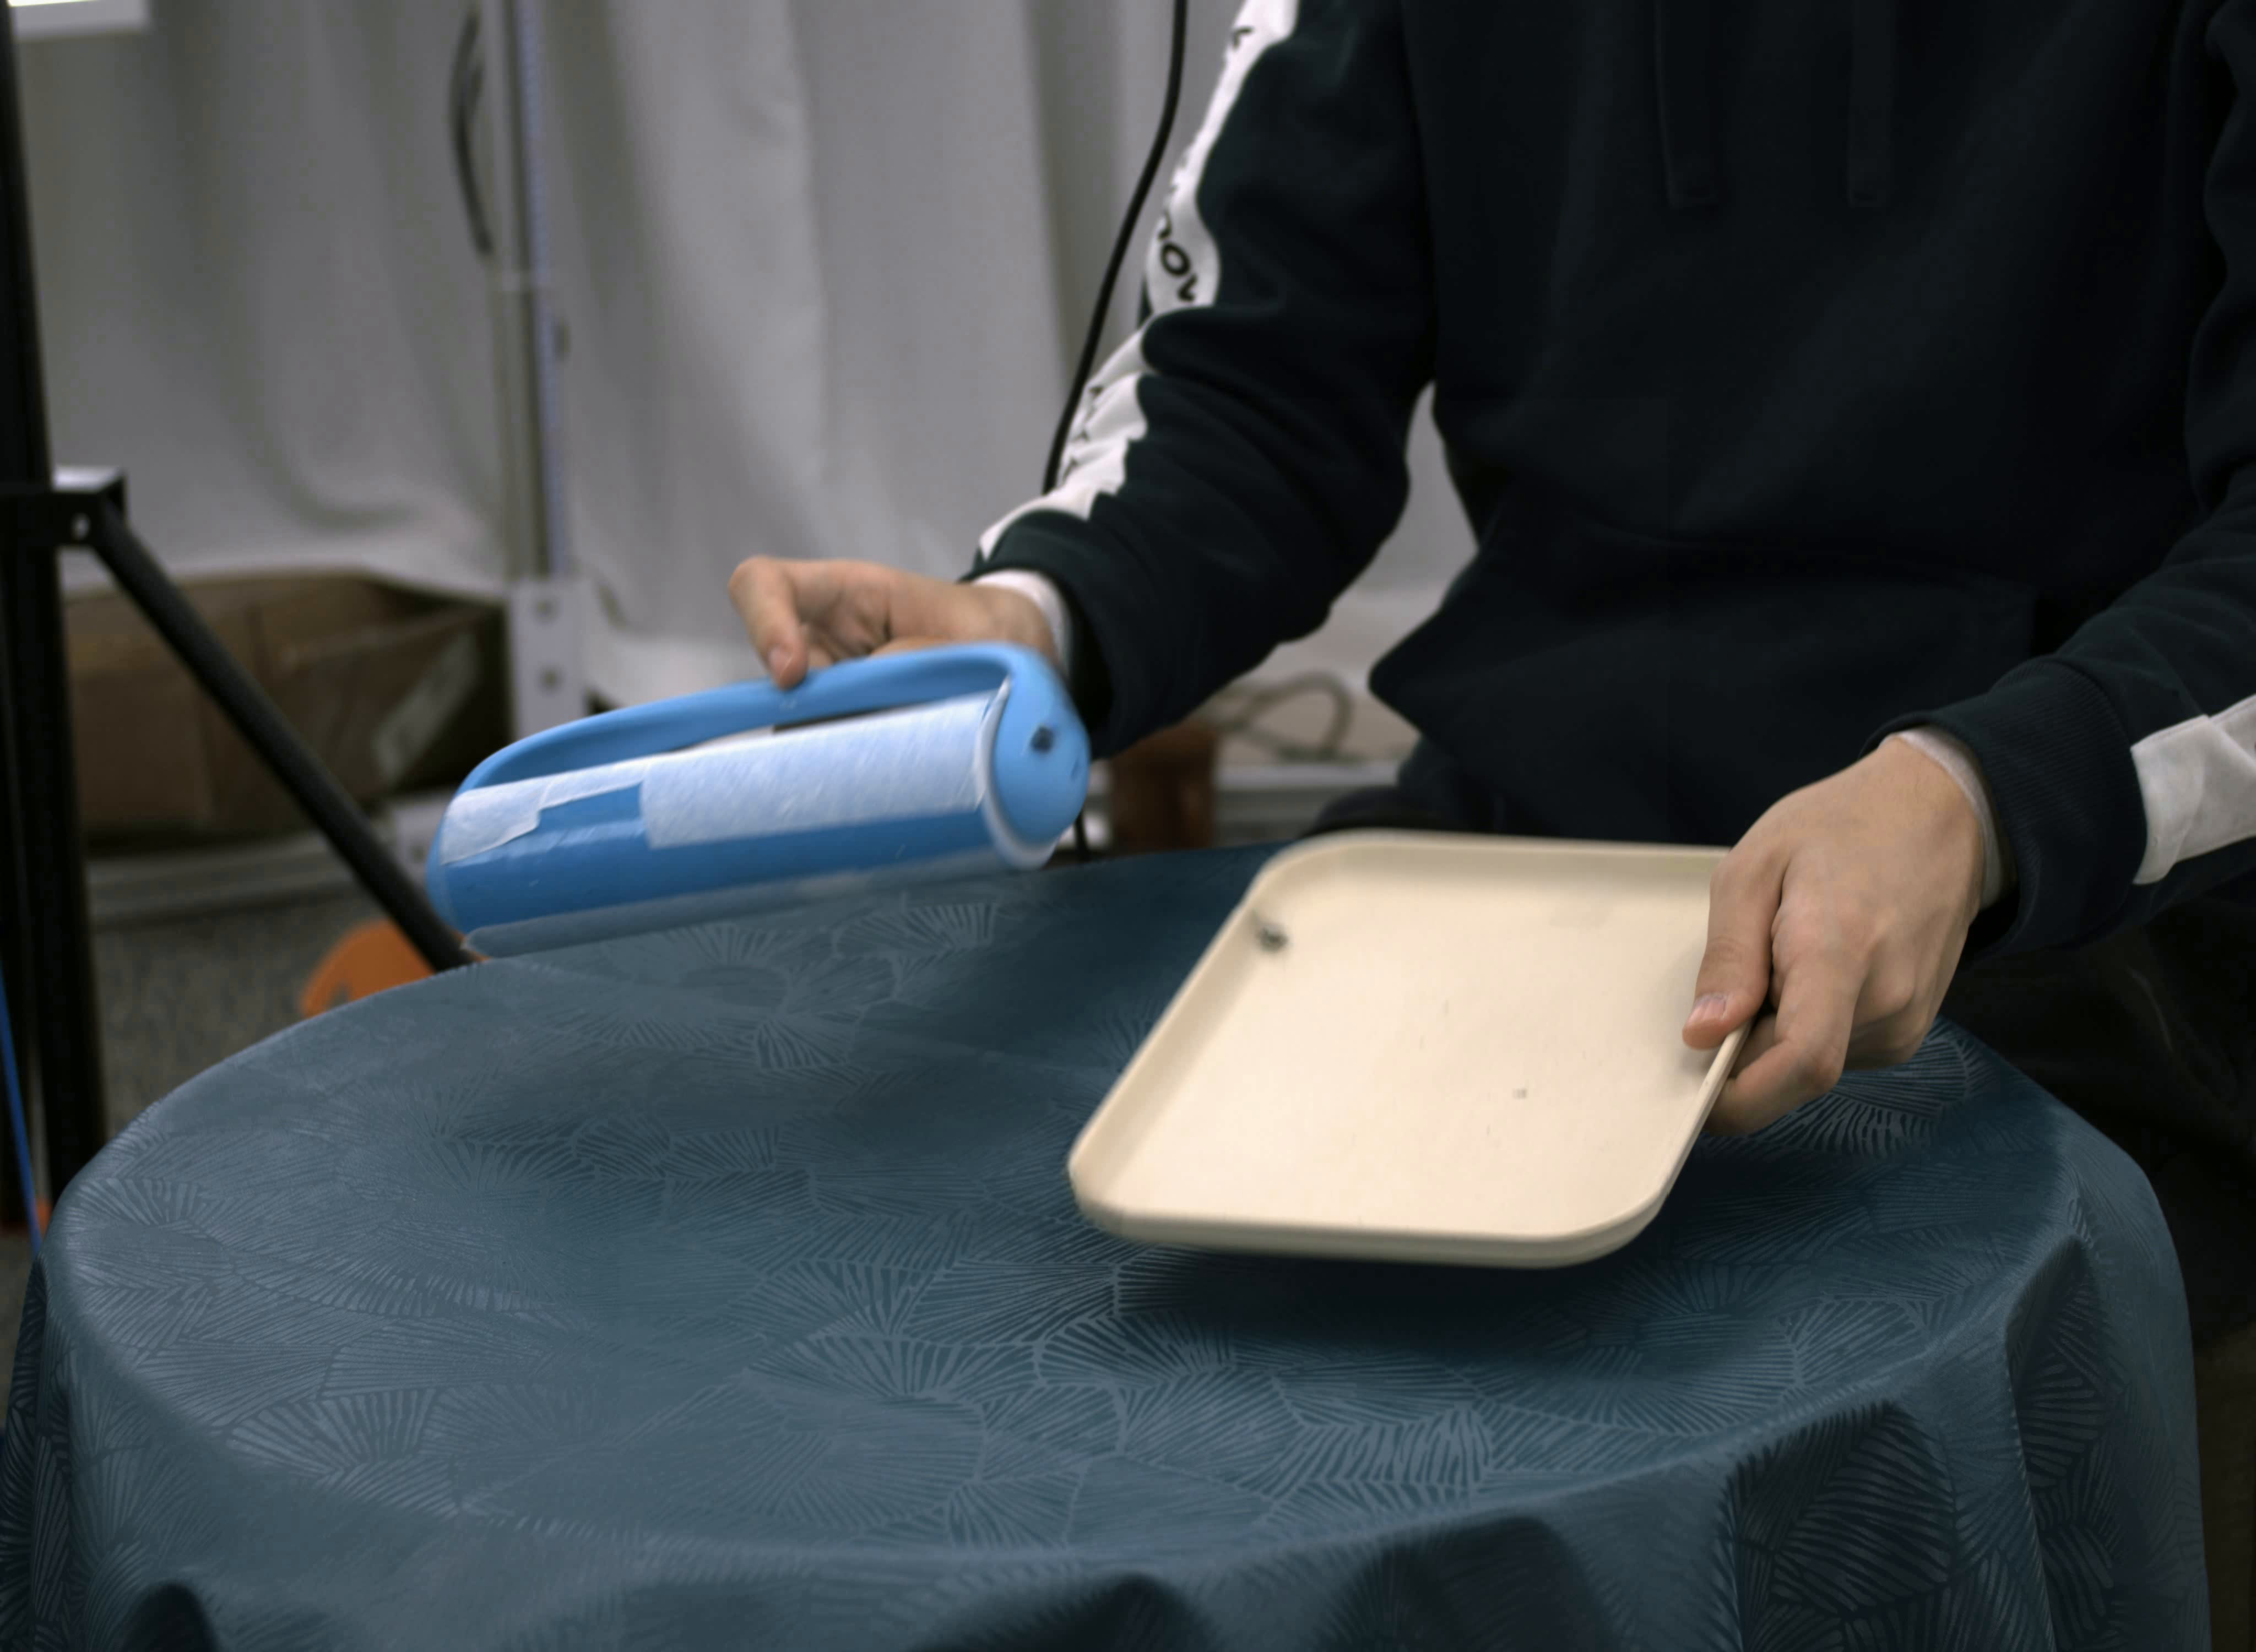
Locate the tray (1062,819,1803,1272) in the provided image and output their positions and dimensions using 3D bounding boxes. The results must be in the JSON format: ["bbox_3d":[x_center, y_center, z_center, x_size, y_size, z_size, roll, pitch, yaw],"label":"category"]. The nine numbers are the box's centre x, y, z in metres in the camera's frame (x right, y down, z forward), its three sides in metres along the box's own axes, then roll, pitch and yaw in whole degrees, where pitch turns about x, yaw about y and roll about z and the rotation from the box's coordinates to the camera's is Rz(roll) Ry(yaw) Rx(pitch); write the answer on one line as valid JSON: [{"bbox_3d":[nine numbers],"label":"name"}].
[{"bbox_3d":[0.091,0.061,1.514,0.173,0.017,0.238,4,27,20],"label":"tray"}]

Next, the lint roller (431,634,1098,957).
[{"bbox_3d":[-0.093,-0.020,1.671,0.232,0.068,0.178,-13,12,25],"label":"lint roller"}]
